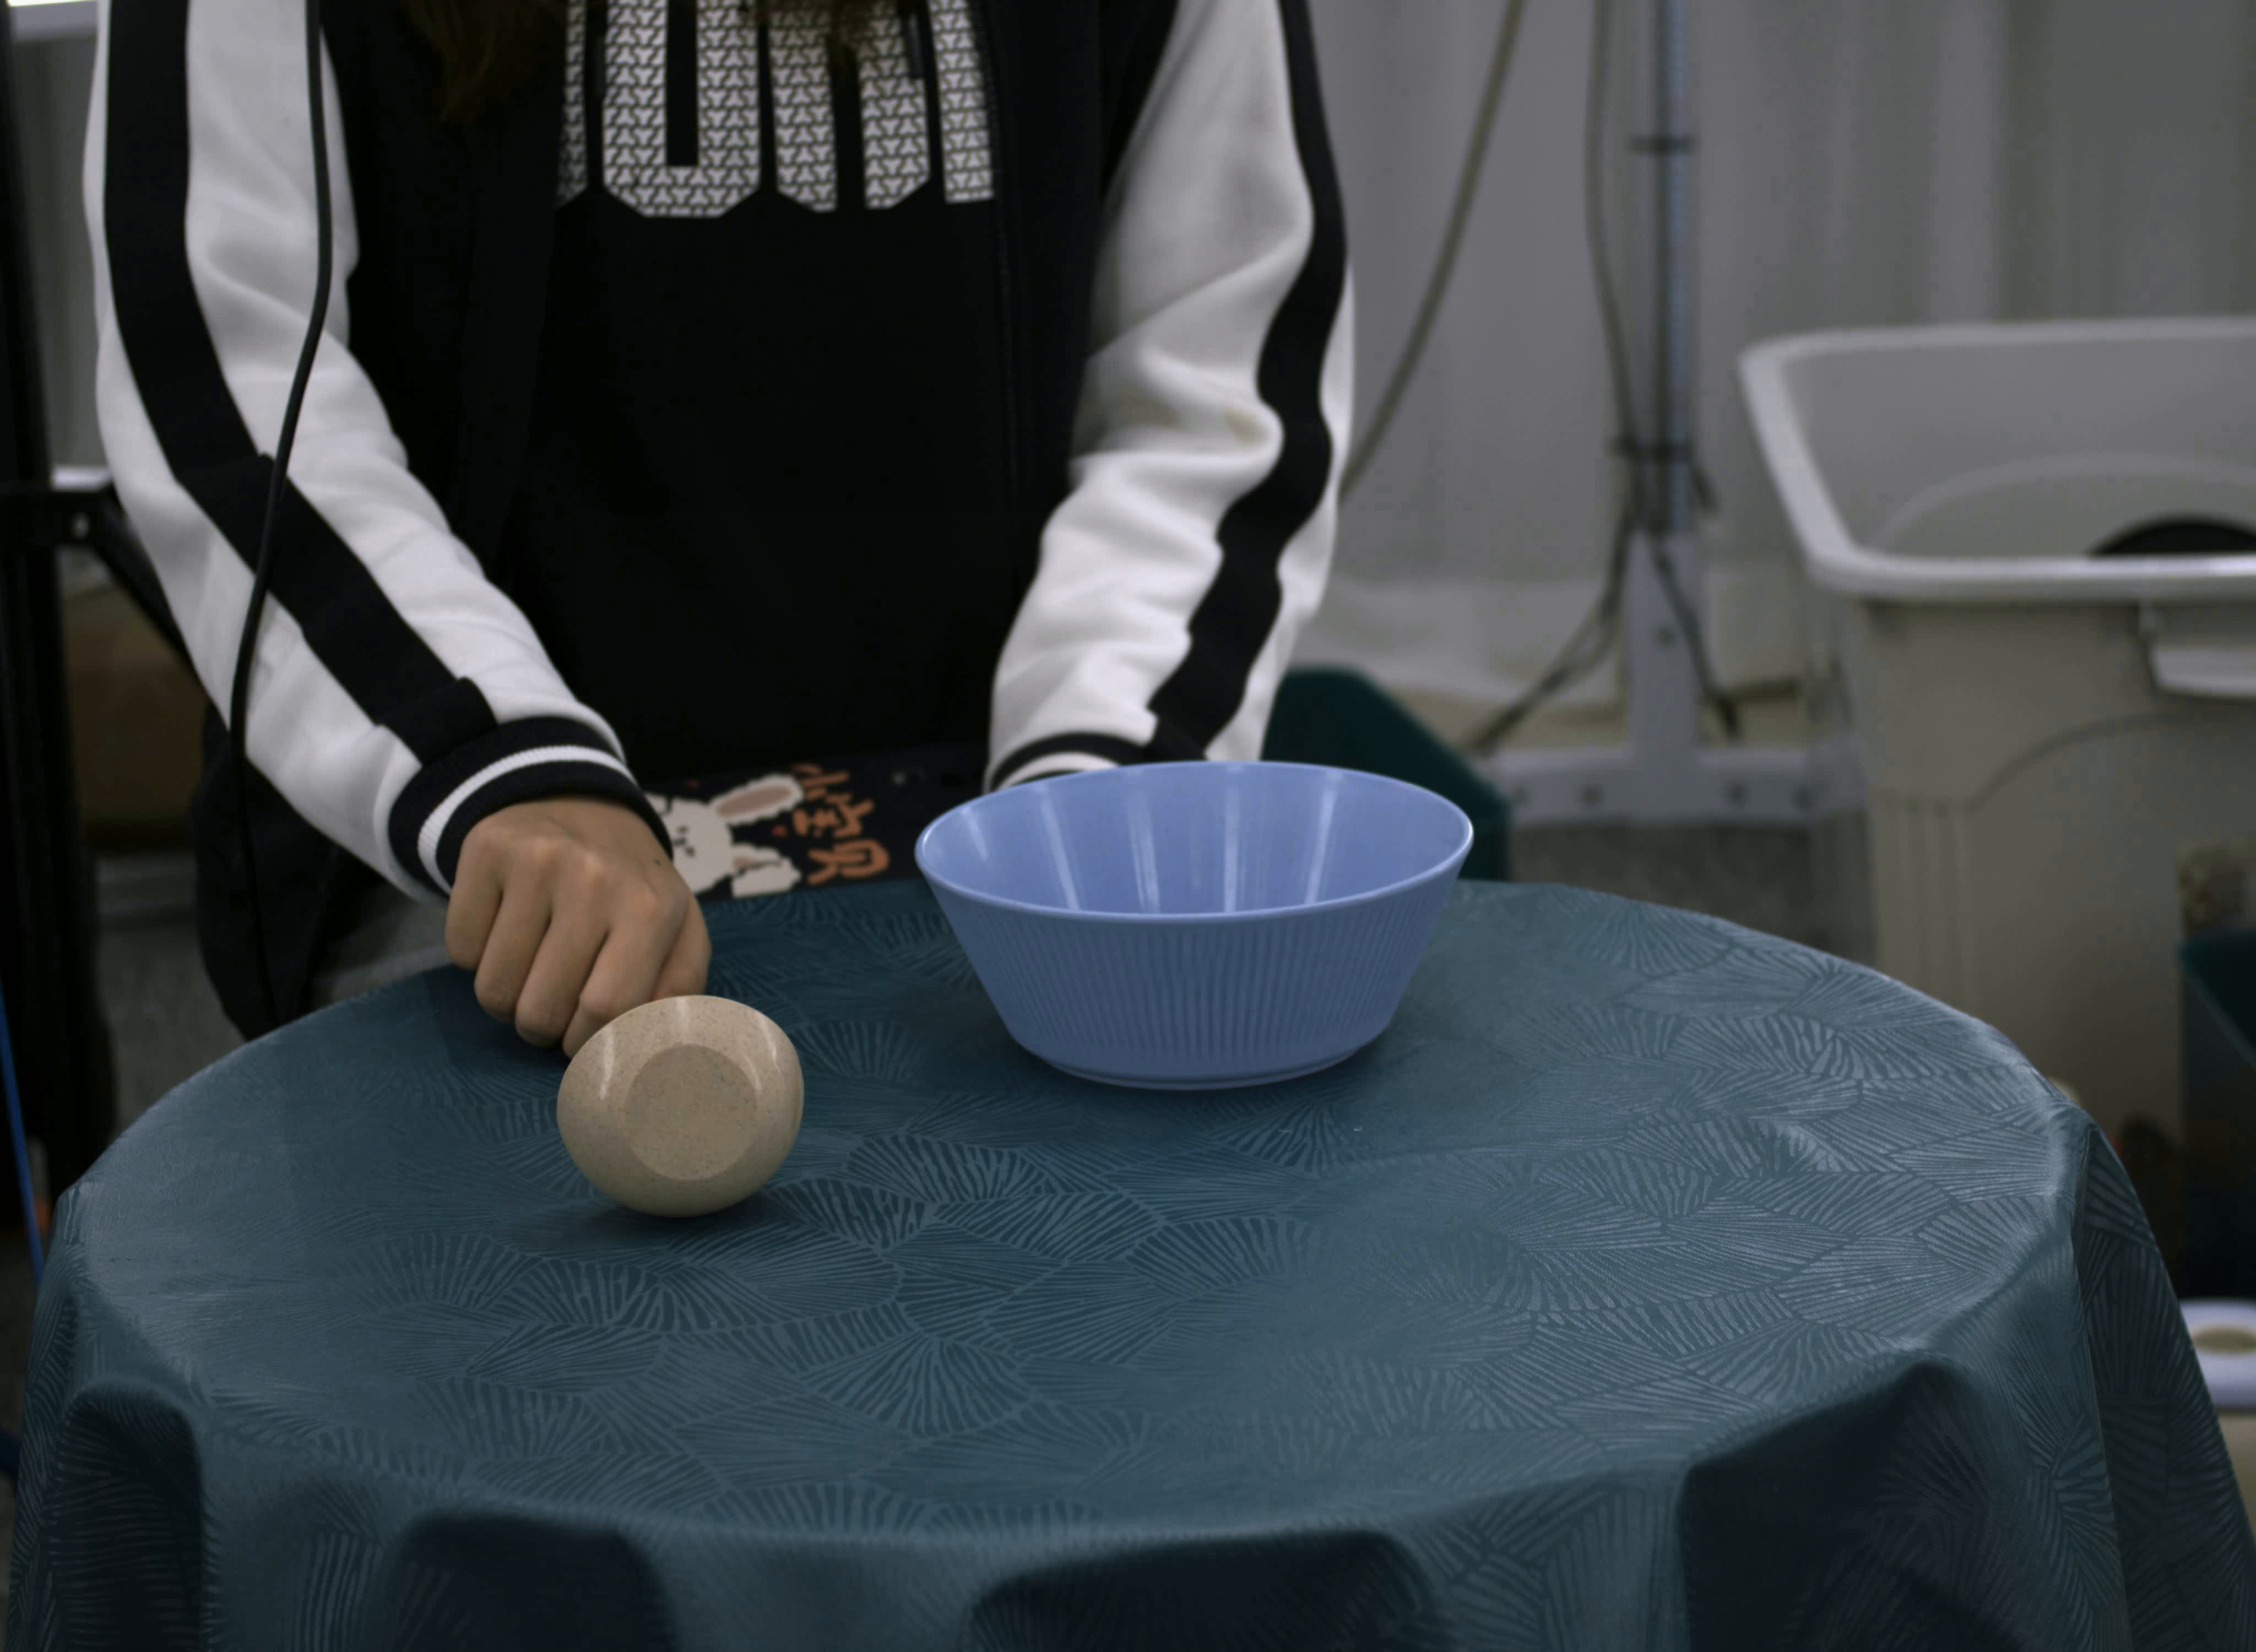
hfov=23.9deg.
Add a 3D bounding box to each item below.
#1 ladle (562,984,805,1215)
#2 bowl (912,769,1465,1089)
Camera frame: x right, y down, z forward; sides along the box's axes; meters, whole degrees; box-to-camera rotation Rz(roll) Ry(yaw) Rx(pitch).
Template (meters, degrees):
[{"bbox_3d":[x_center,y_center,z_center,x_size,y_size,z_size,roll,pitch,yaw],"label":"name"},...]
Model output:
[{"bbox_3d":[-0.153,0.054,1.642,0.071,0.073,0.258,-10,16,-11],"label":"ladle"},{"bbox_3d":[0.019,0.035,1.686,0.175,0.070,0.177,-2,16,-1],"label":"bowl"}]
